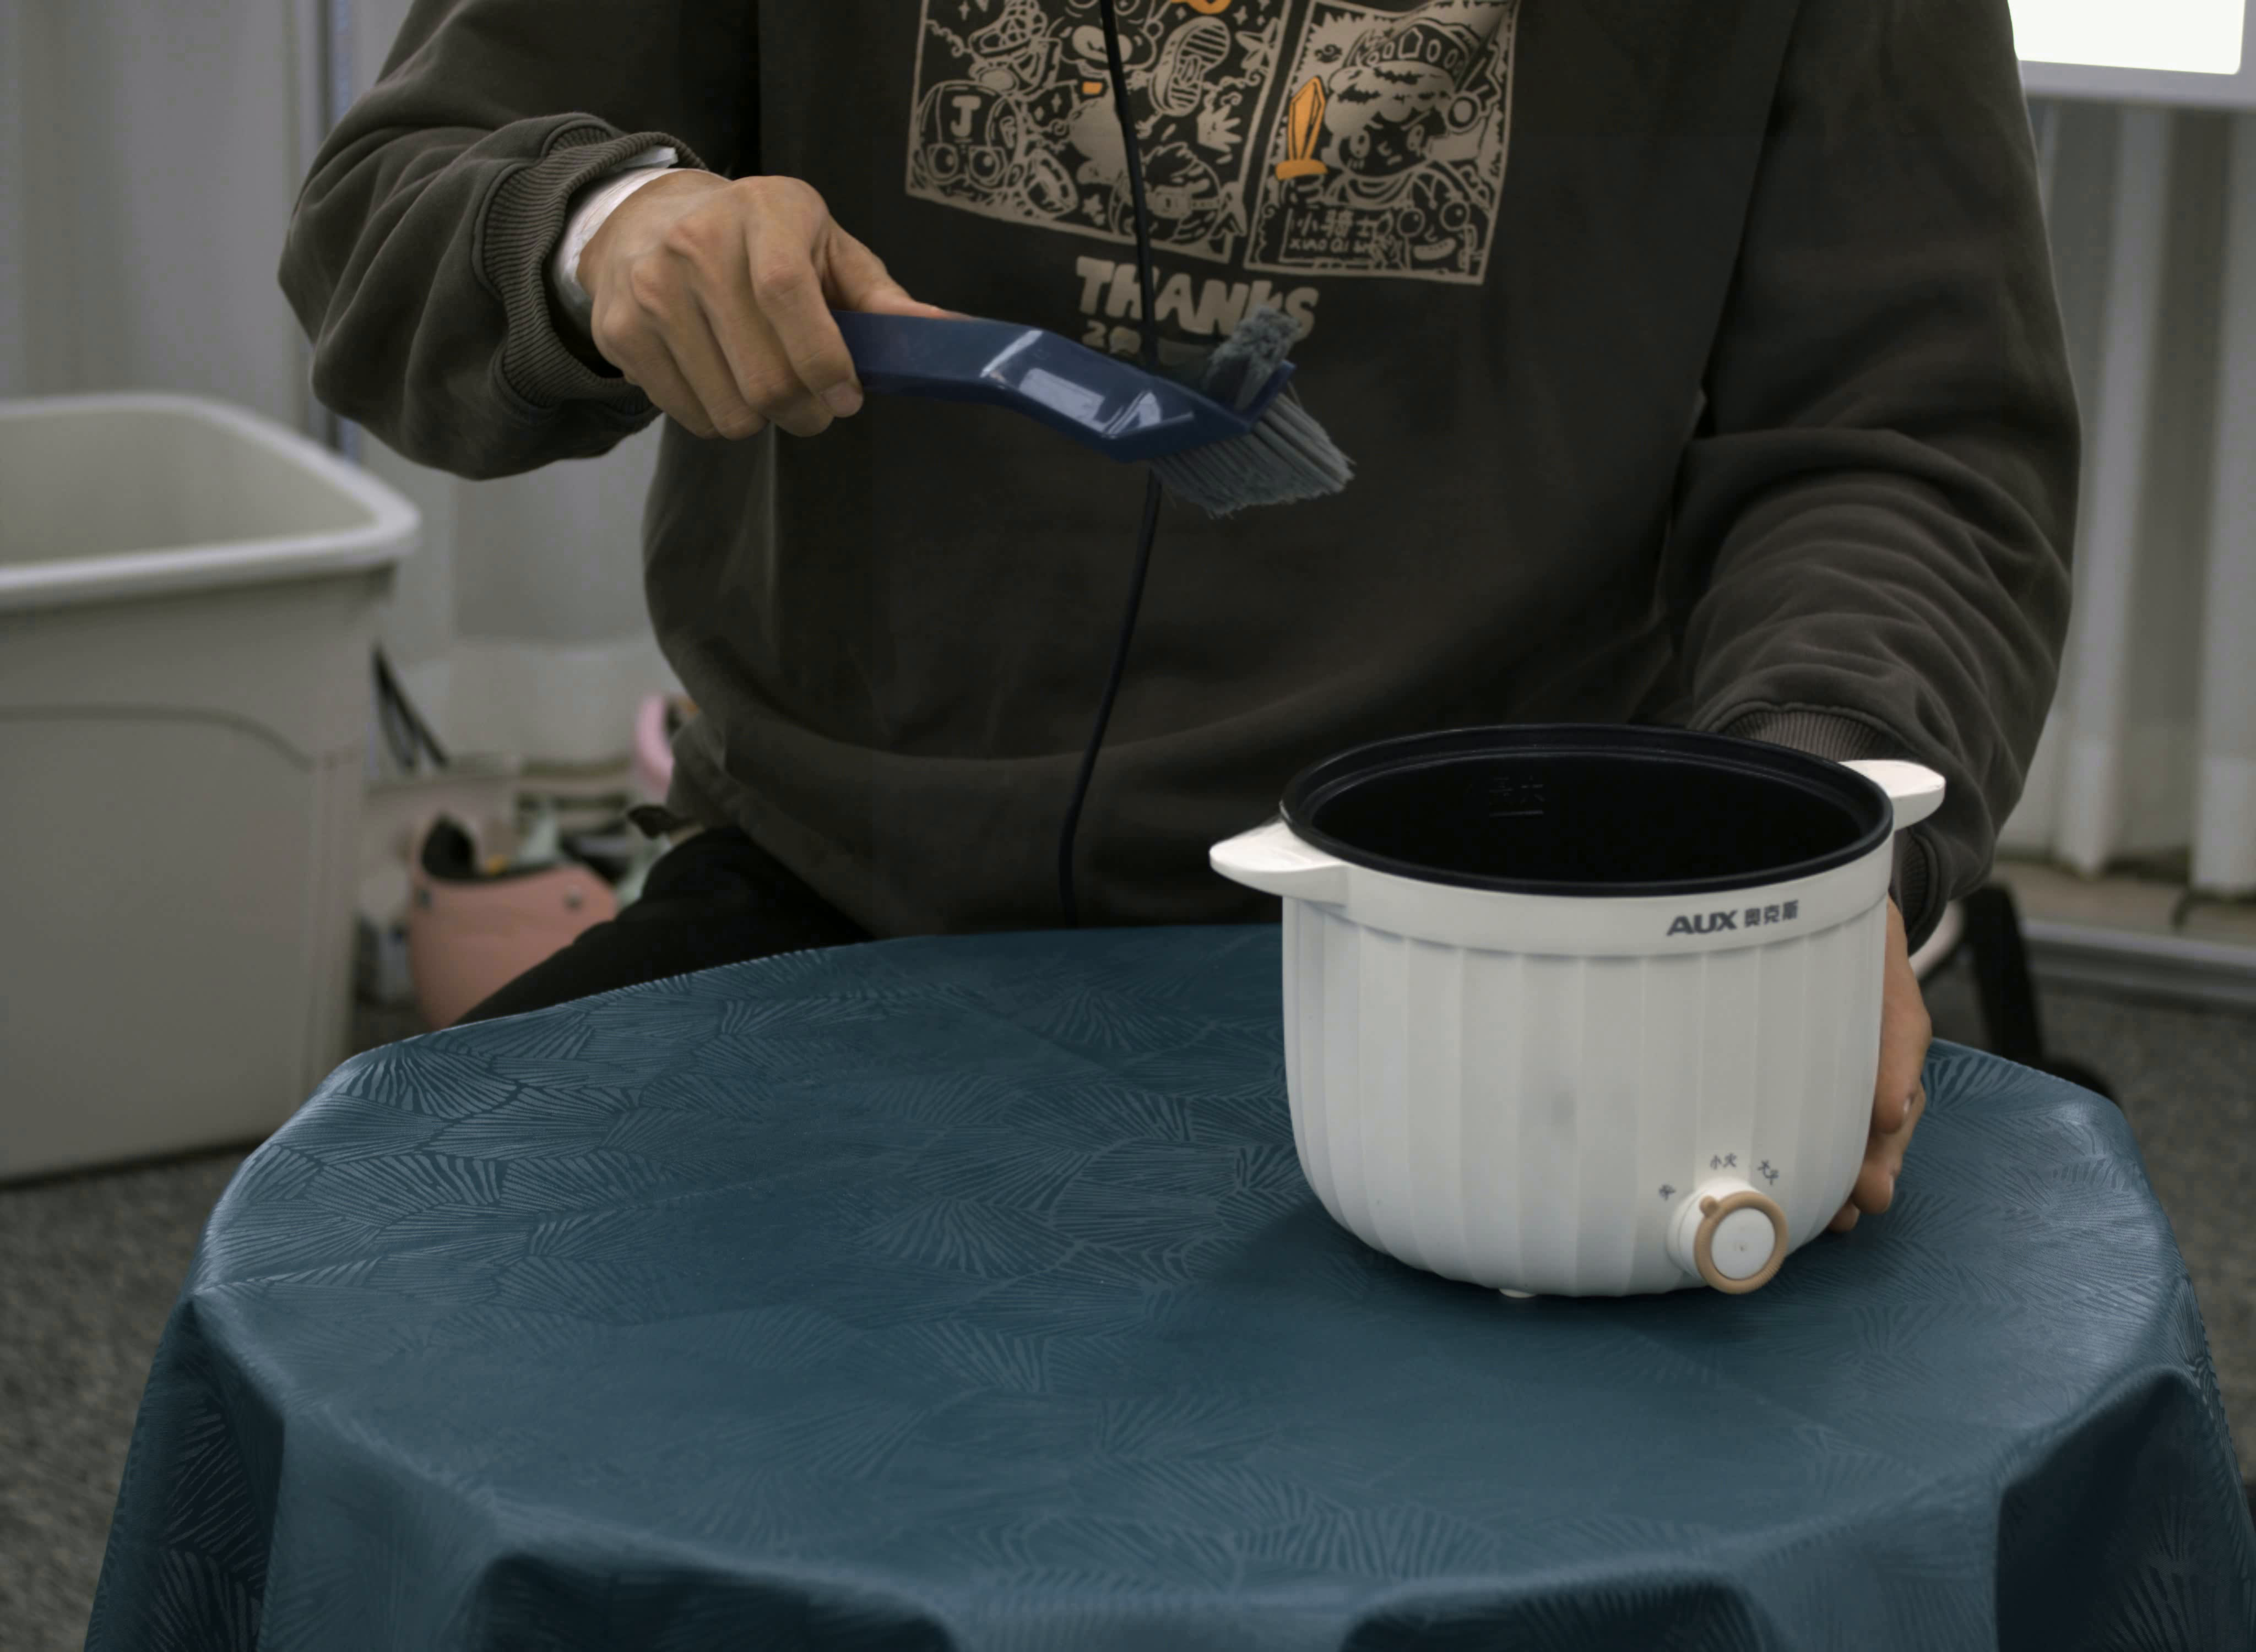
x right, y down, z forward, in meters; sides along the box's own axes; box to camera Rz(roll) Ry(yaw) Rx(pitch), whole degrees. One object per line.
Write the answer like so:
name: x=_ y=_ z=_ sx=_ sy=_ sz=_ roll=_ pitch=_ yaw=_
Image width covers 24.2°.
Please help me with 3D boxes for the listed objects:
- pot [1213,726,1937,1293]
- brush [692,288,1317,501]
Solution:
pot: x=0.139 y=0.057 z=1.573 sx=0.241 sy=0.144 sz=0.188 roll=-8 pitch=14 yaw=-23
brush: x=-0.047 y=-0.143 z=1.573 sx=0.269 sy=0.097 sz=0.033 roll=16 pitch=64 yaw=41
